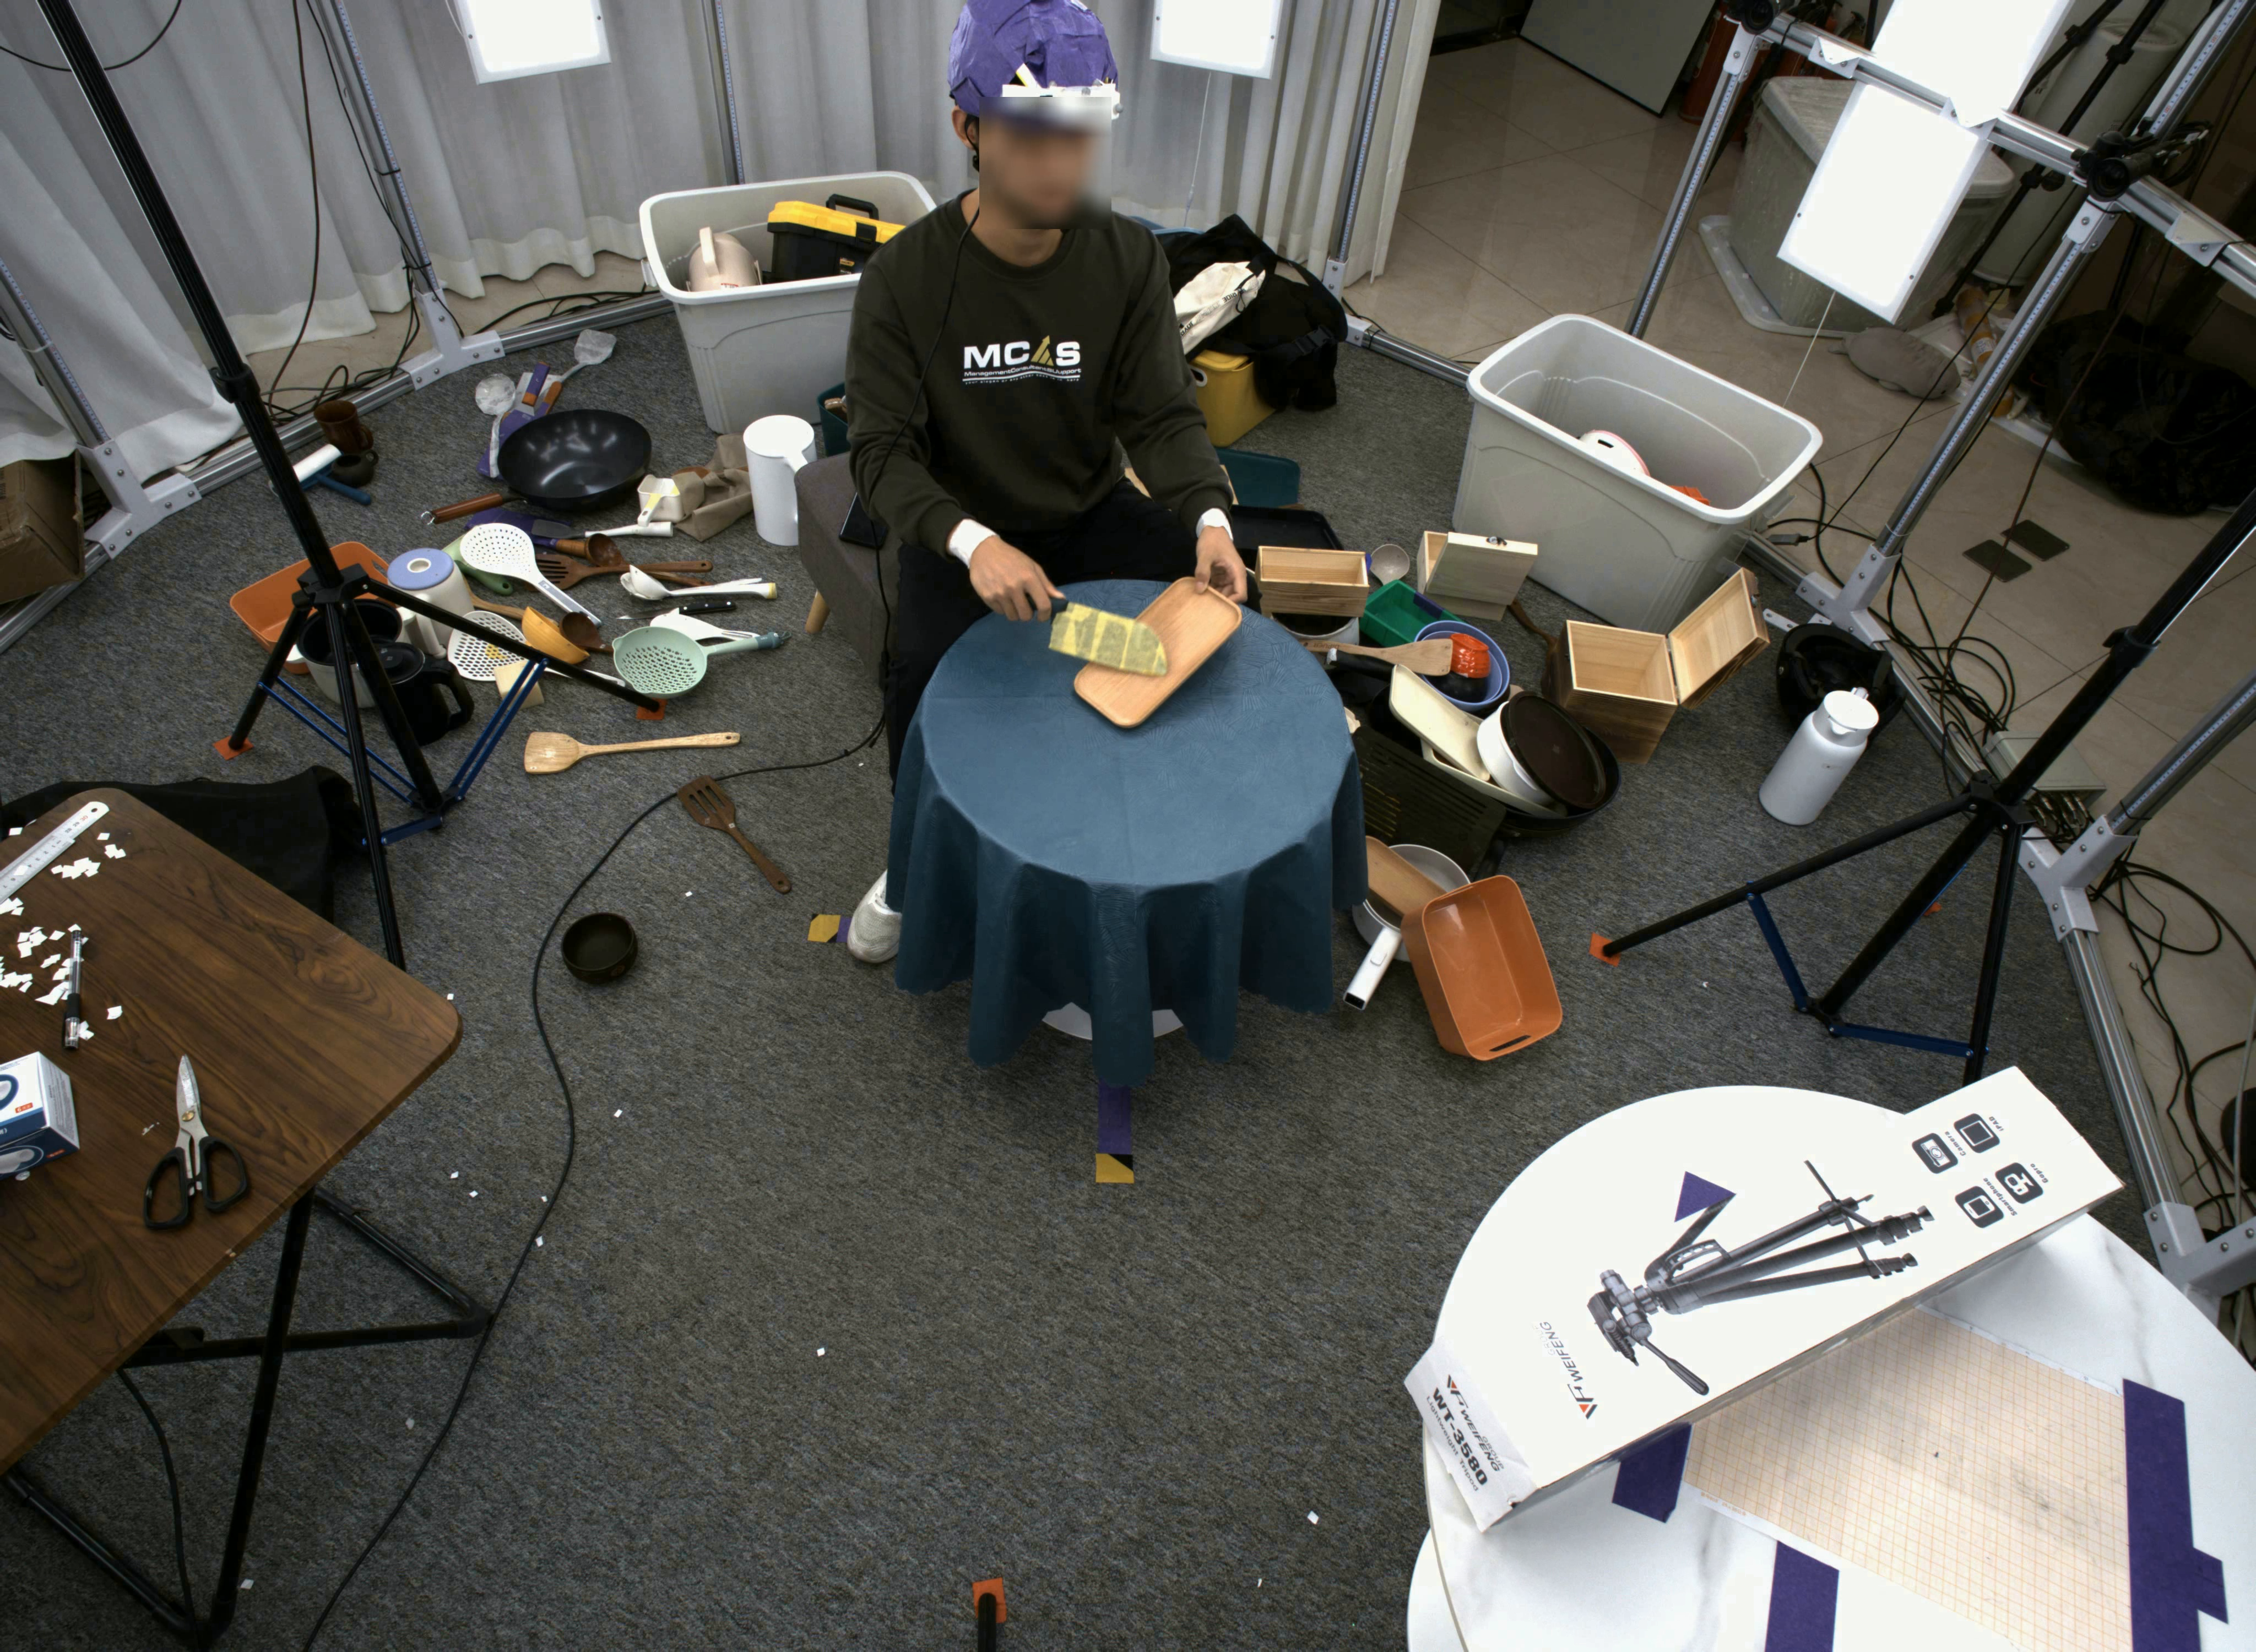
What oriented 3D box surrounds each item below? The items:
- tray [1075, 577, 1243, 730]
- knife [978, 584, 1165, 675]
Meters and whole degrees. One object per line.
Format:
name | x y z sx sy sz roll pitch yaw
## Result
tray | 0.045 -0.247 1.826 0.252 0.022 0.132 -45 60 -12
knife | -0.082 -0.279 1.814 0.290 0.080 0.027 21 19 10
